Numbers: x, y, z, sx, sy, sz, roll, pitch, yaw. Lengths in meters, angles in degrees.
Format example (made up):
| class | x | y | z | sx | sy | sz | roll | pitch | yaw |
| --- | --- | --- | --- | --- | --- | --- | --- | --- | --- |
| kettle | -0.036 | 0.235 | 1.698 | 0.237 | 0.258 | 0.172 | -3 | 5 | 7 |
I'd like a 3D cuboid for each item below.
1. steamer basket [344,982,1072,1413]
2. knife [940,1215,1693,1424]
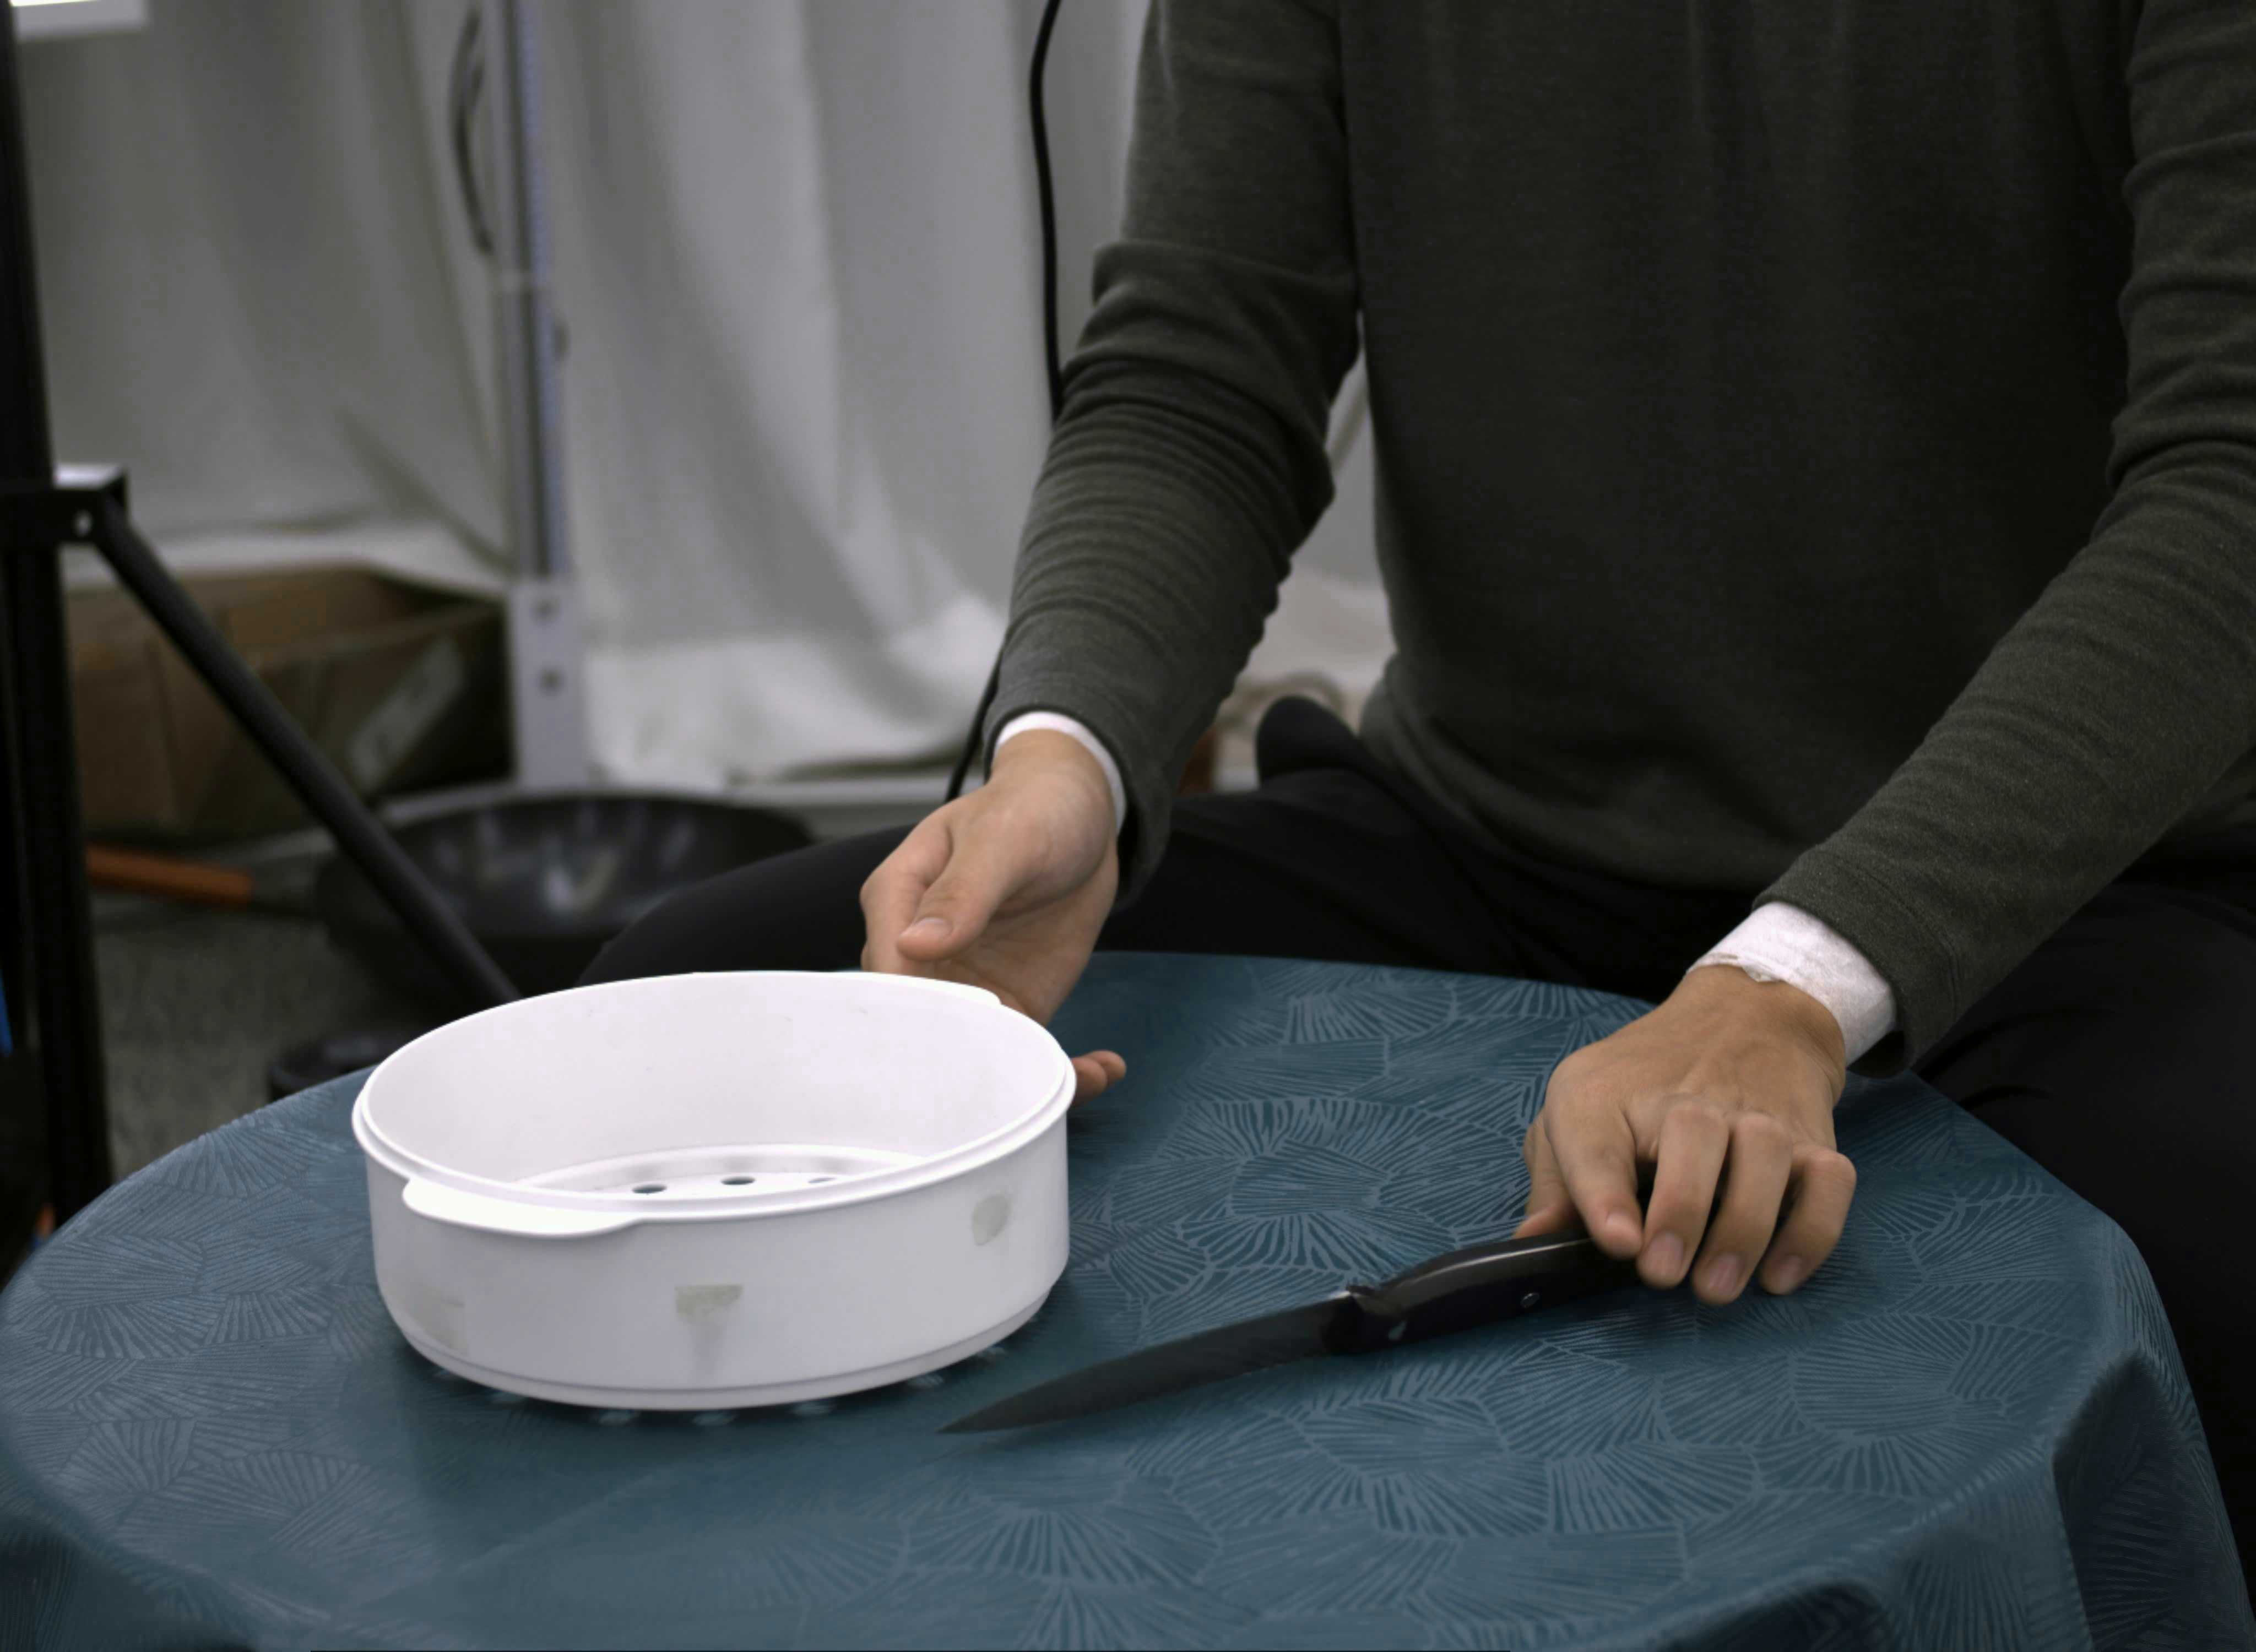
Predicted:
| class | x | y | z | sx | sy | sz | roll | pitch | yaw |
| --- | --- | --- | --- | --- | --- | --- | --- | --- | --- |
| steamer basket | -0.115 | 0.103 | 1.478 | 0.205 | 0.069 | 0.226 | 7 | 17 | 29 |
| knife | 0.053 | 0.136 | 1.419 | 0.233 | 0.024 | 0.016 | -10 | 47 | -28 |
